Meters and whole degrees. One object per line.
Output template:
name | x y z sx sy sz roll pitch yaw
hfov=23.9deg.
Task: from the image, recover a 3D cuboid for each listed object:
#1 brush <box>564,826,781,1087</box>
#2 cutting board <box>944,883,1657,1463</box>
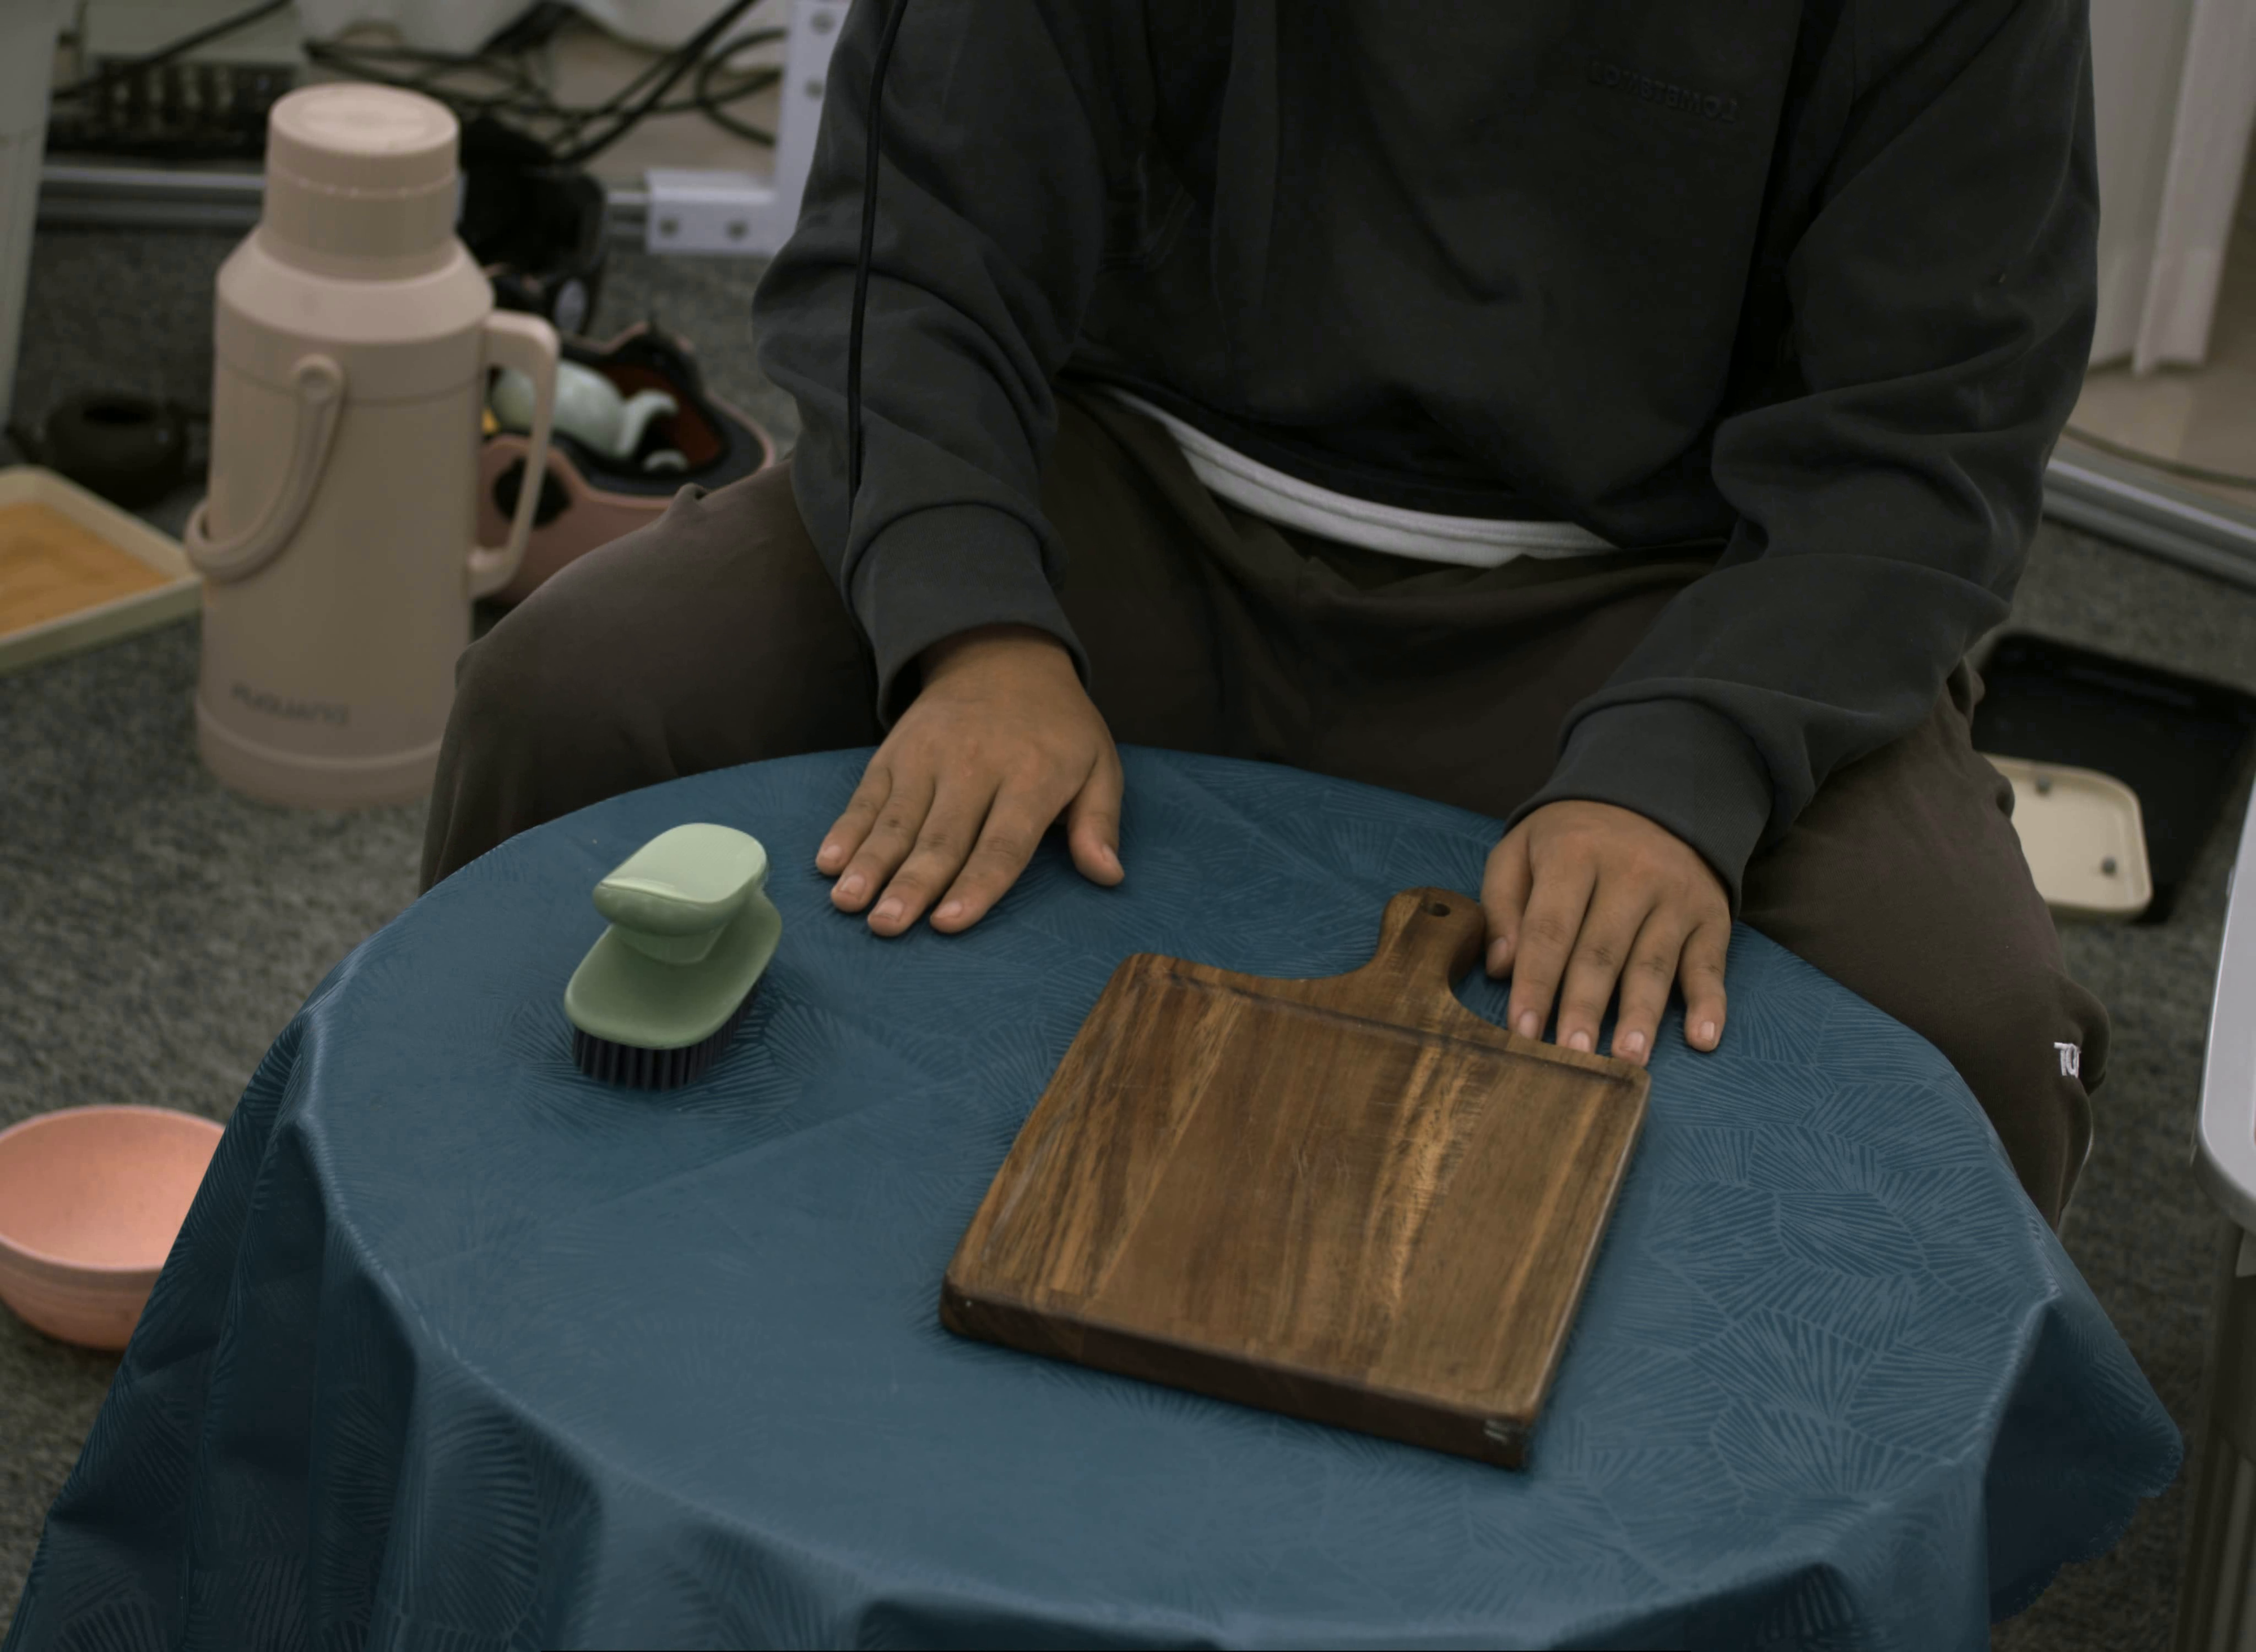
brush | -0.159 0.044 1.867 0.059 0.076 0.123 12 13 9
cutting board | 0.076 0.103 1.842 0.201 0.023 0.353 13 27 11
